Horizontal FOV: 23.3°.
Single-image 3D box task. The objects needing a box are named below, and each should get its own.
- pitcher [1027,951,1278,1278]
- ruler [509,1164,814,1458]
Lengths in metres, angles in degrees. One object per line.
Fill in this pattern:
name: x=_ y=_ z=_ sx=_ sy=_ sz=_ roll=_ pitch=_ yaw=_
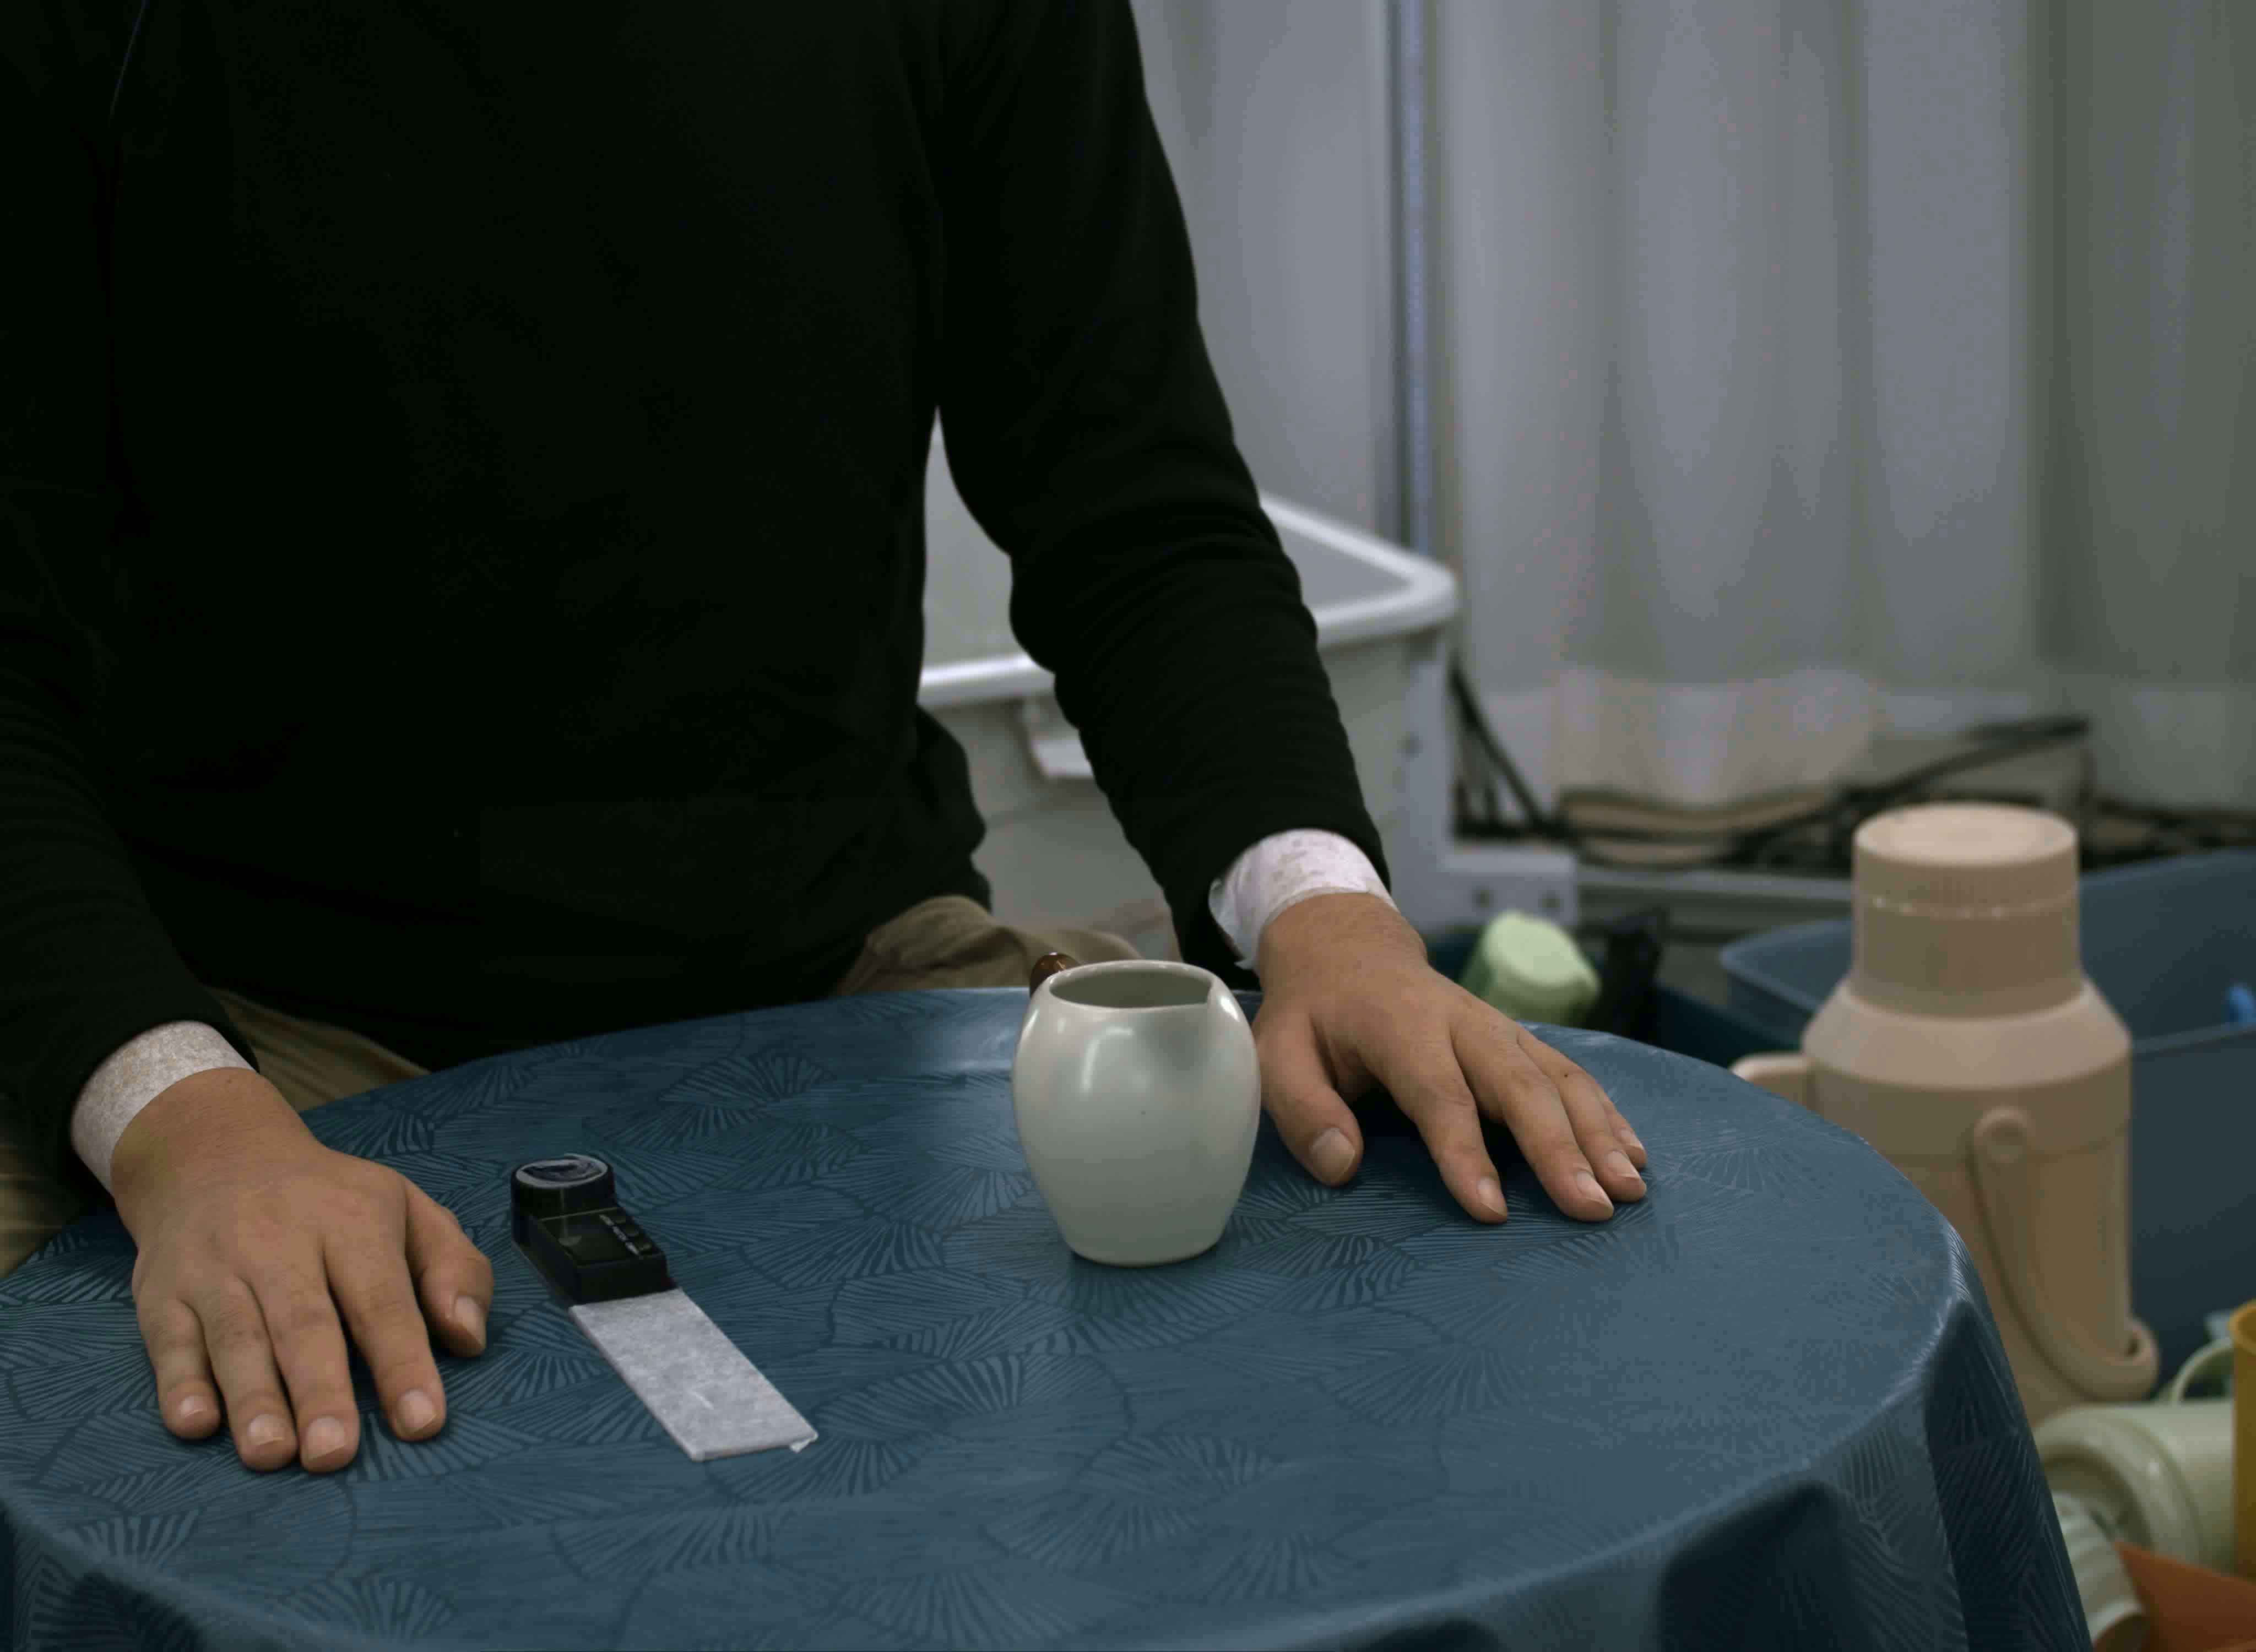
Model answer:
pitcher: x=0.004 y=0.086 z=1.654 sx=0.075 sy=0.087 sz=0.120 roll=-5 pitch=16 yaw=-22
ruler: x=-0.142 y=0.139 z=1.606 sx=0.038 sy=0.024 sz=0.220 roll=-15 pitch=16 yaw=-17
